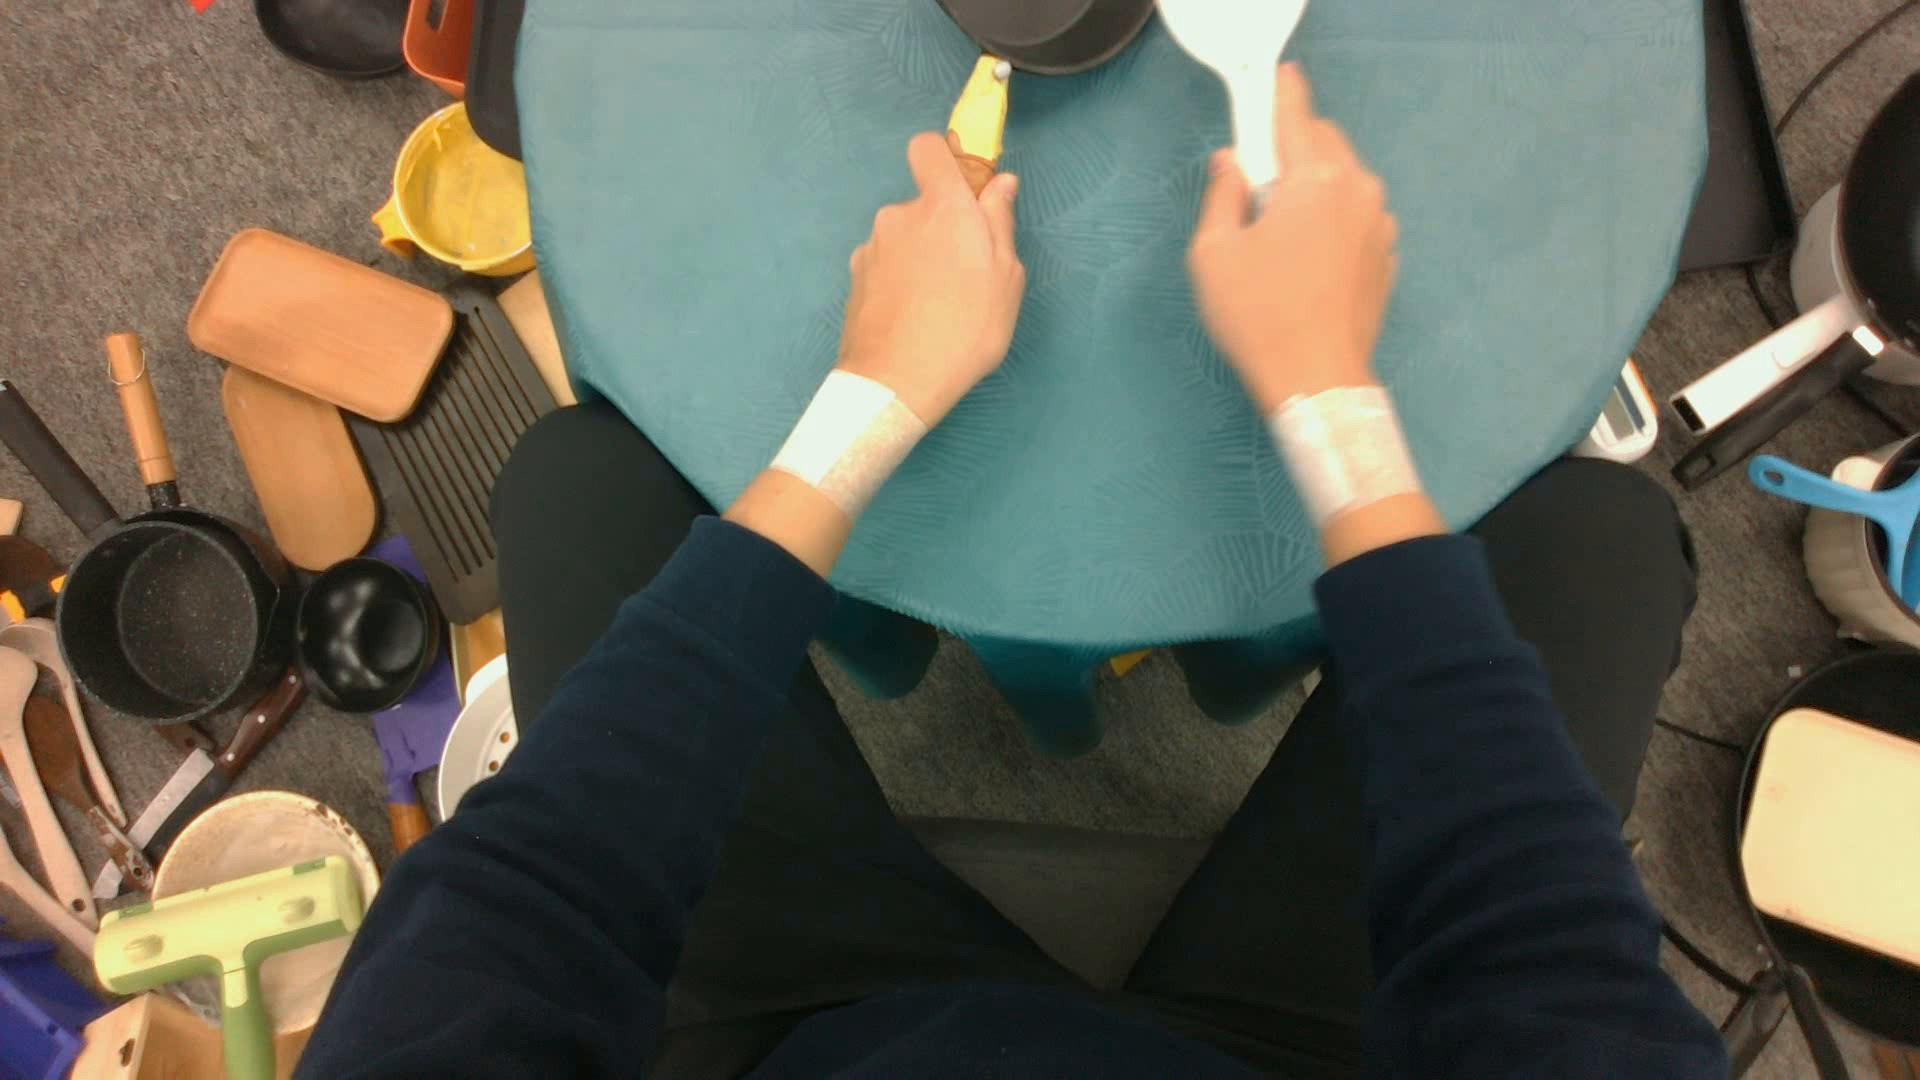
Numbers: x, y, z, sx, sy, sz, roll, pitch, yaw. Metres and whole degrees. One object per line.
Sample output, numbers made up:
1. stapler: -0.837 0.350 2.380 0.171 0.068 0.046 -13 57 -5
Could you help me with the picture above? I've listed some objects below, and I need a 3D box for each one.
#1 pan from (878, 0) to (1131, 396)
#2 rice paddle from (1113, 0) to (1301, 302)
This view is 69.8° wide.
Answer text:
1. pan: 0.003 -0.225 0.646 0.169 0.049 0.324 18 88 -36
2. rice paddle: 0.114 -0.211 0.628 0.068 0.029 0.205 -16 83 22
